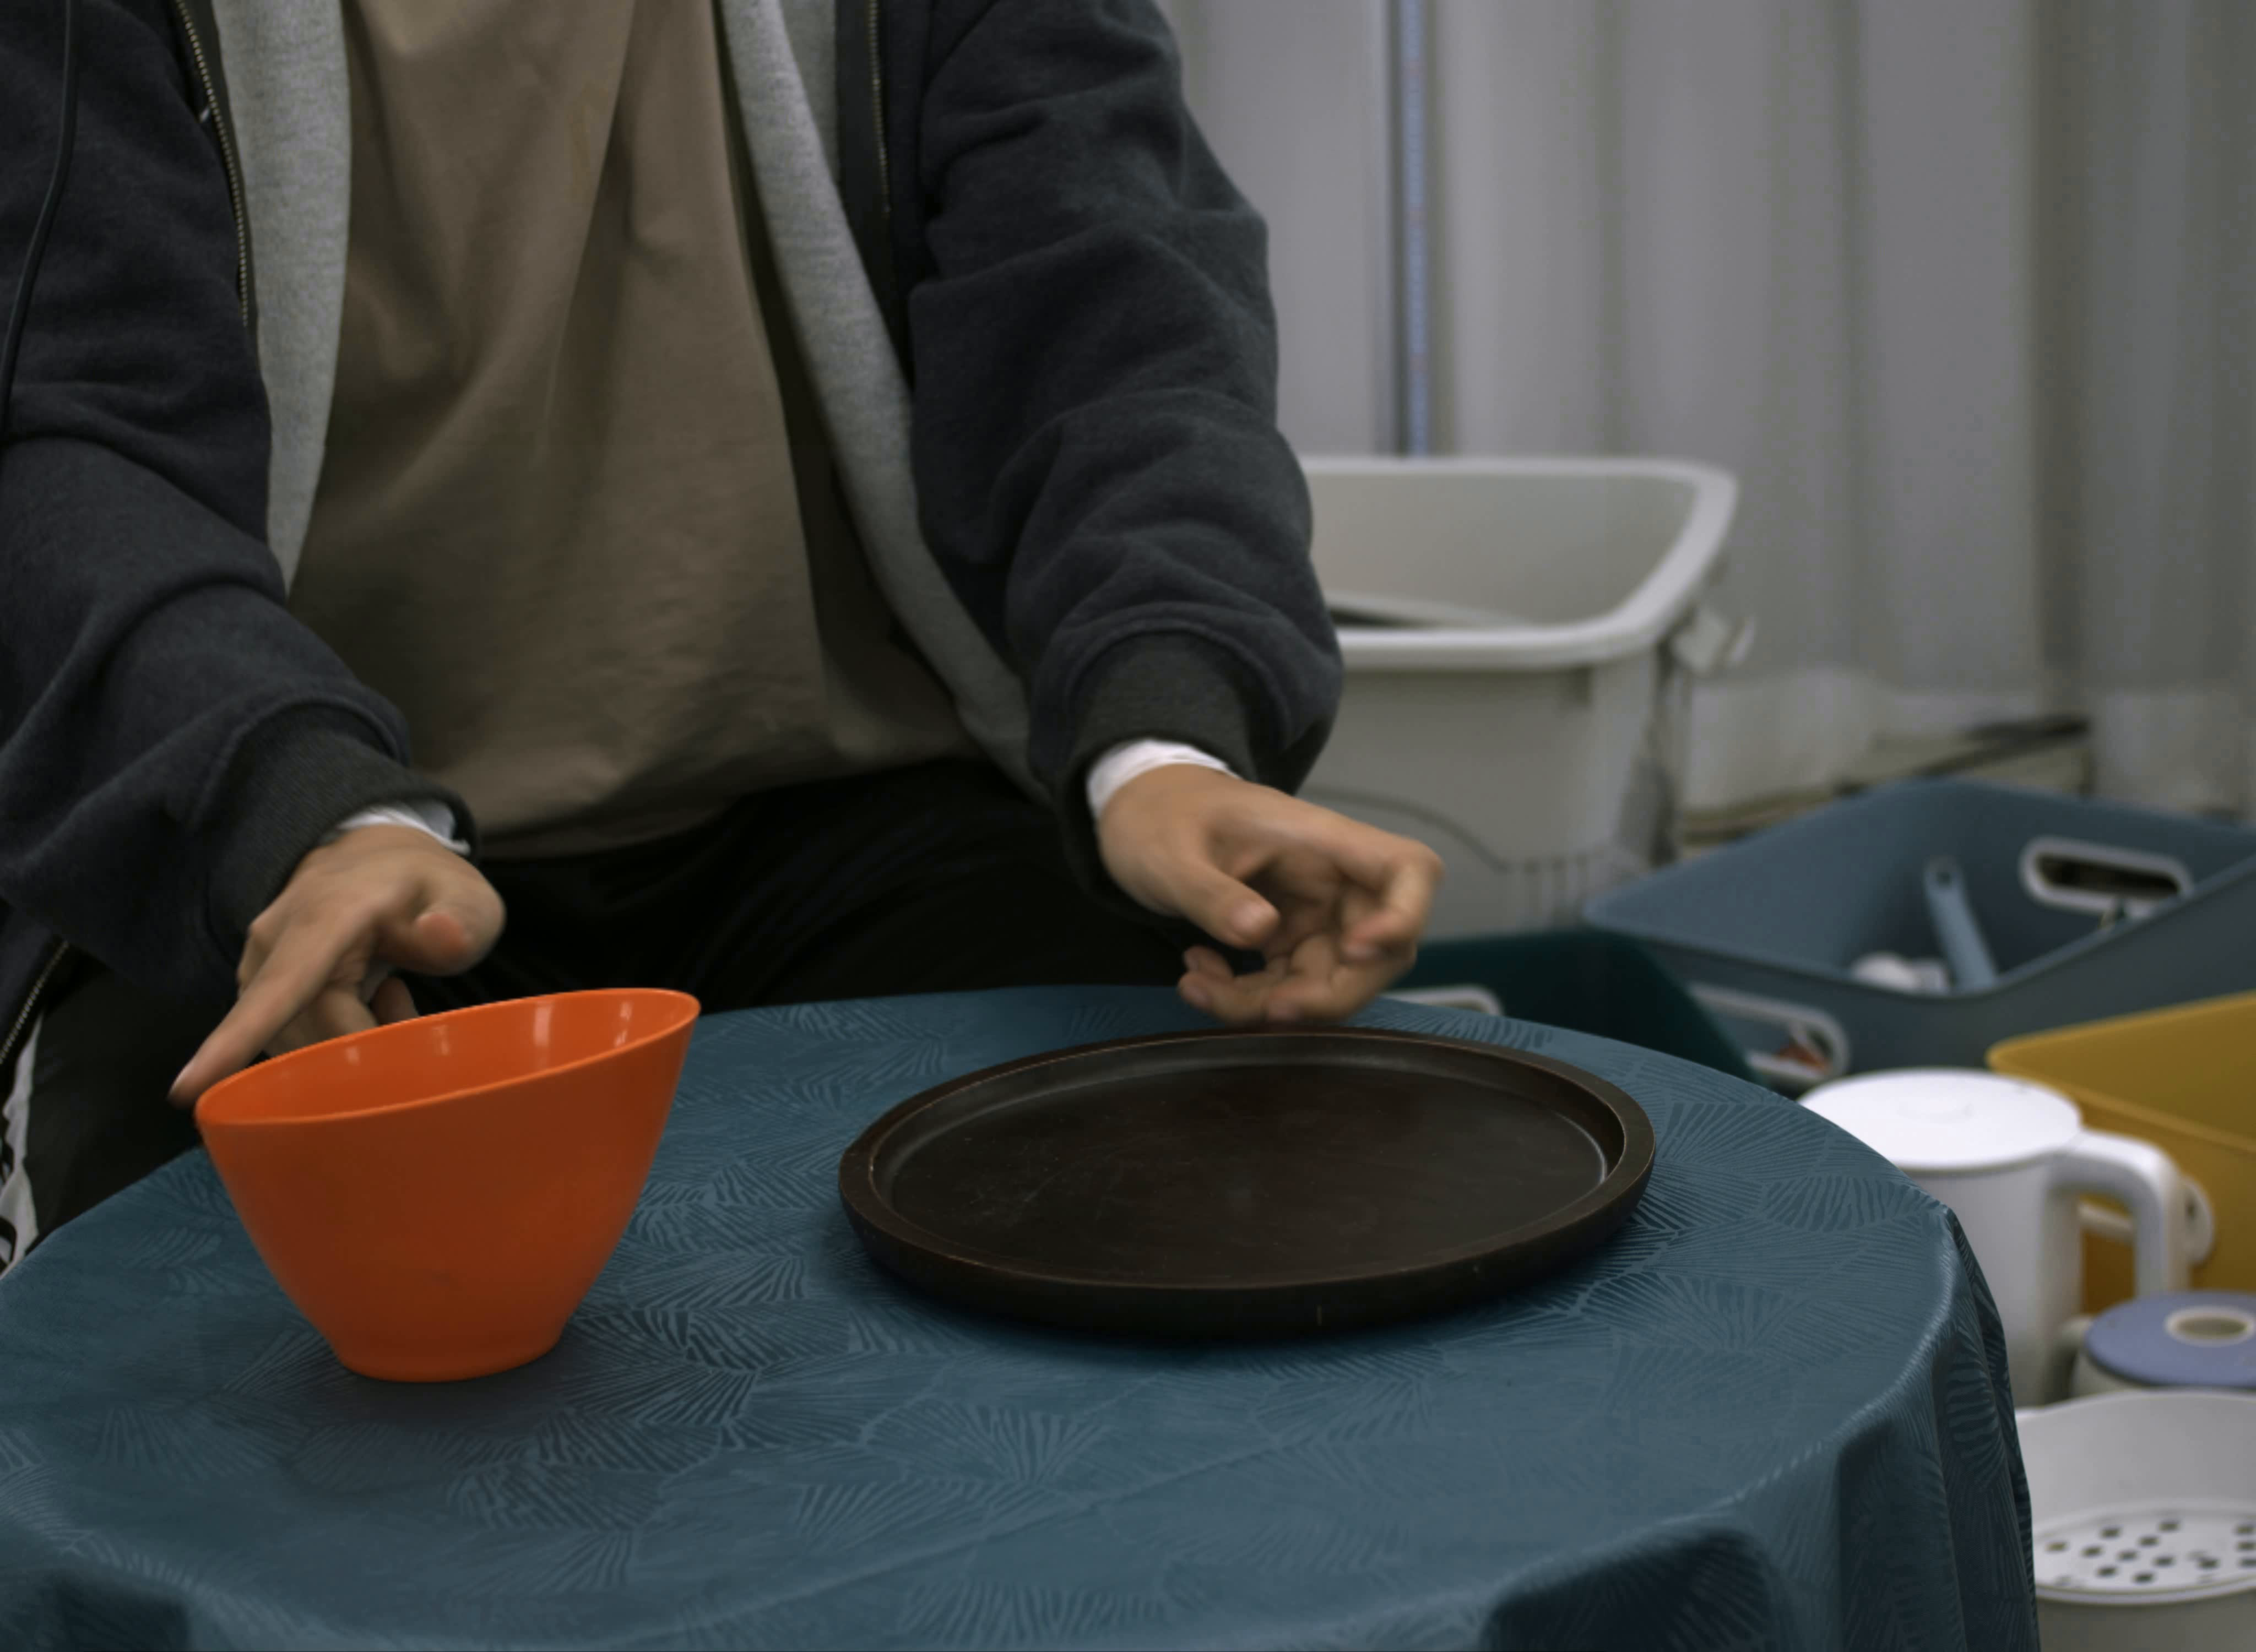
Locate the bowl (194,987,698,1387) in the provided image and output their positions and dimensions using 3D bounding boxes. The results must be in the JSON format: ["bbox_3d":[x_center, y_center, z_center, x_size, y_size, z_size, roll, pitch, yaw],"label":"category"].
[{"bbox_3d":[-0.195,0.106,1.593,0.147,0.104,0.149,-3,15,1],"label":"bowl"}]

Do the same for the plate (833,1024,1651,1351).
[{"bbox_3d":[0.036,0.109,1.687,0.254,0.029,0.256,-4,15,1],"label":"plate"}]
